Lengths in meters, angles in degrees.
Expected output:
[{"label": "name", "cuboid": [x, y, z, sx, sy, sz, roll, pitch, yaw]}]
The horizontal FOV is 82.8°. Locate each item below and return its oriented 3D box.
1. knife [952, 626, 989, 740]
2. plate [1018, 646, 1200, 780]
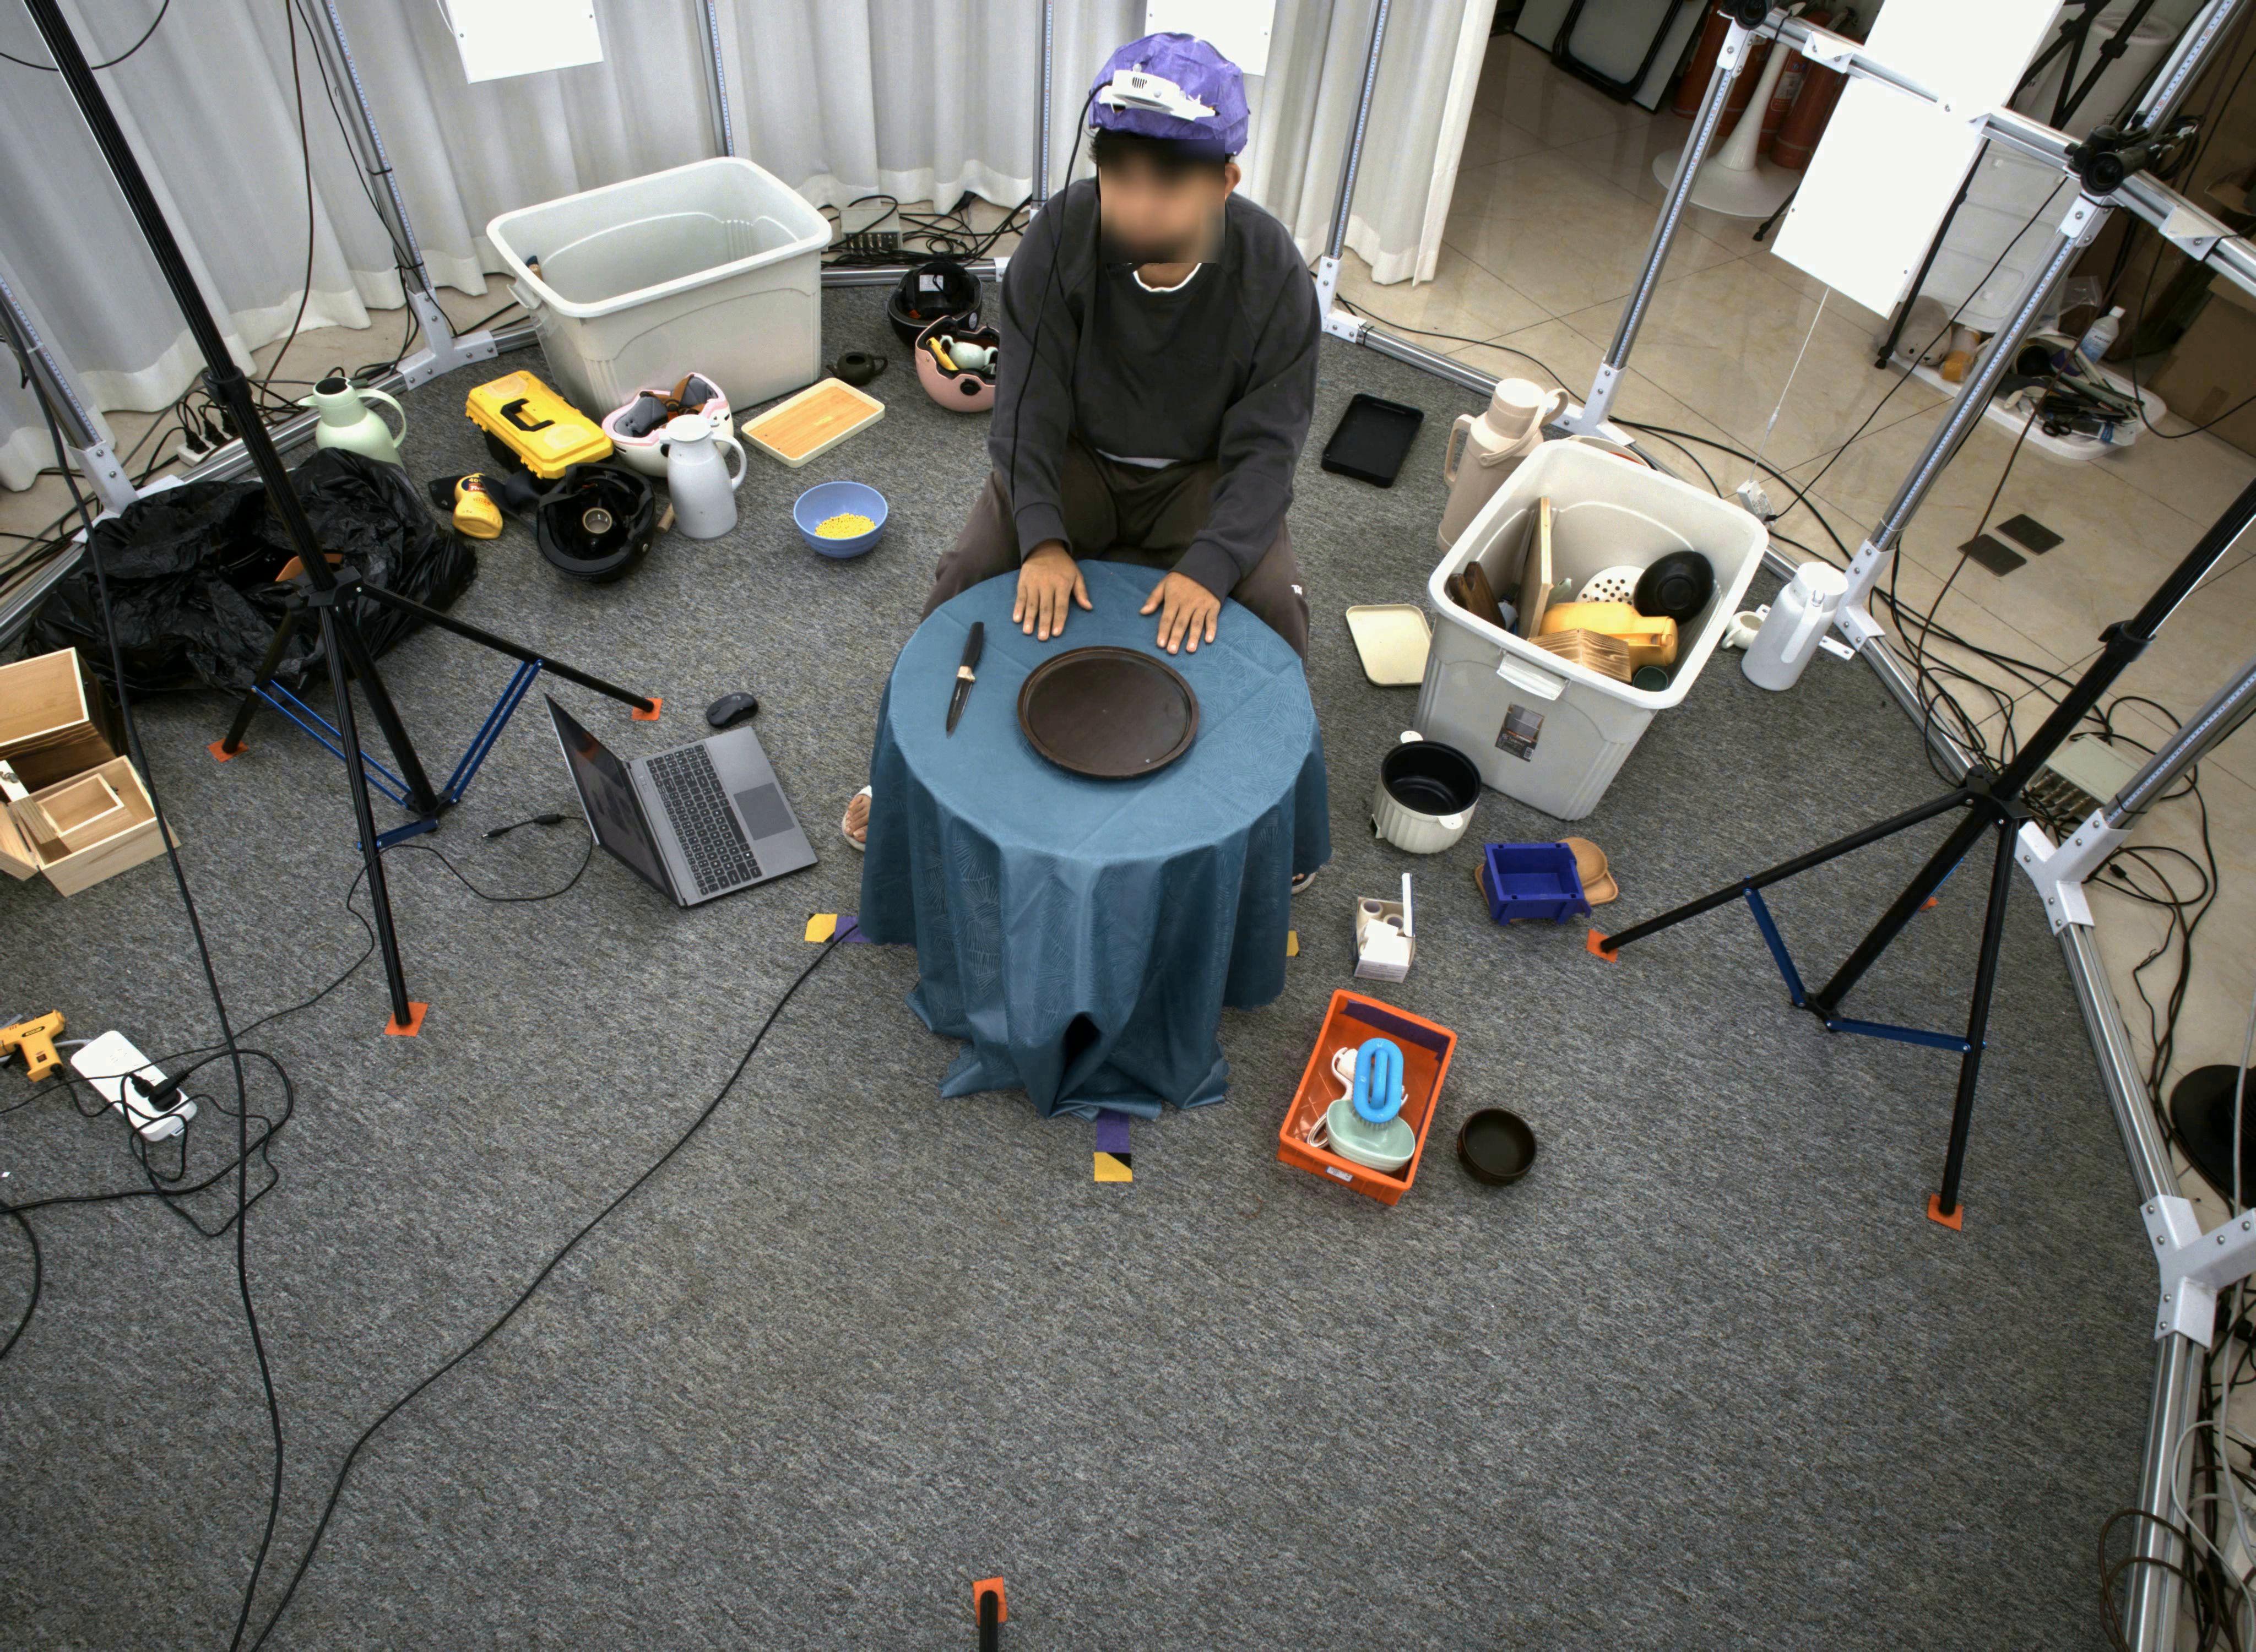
[{"label": "knife", "cuboid": [-0.226, -0.205, 1.819, 0.026, 0.017, 0.231, 11, 50, -2]}, {"label": "plate", "cuboid": [-0.027, -0.159, 1.787, 0.254, 0.028, 0.261, 1, 48, -2]}]
